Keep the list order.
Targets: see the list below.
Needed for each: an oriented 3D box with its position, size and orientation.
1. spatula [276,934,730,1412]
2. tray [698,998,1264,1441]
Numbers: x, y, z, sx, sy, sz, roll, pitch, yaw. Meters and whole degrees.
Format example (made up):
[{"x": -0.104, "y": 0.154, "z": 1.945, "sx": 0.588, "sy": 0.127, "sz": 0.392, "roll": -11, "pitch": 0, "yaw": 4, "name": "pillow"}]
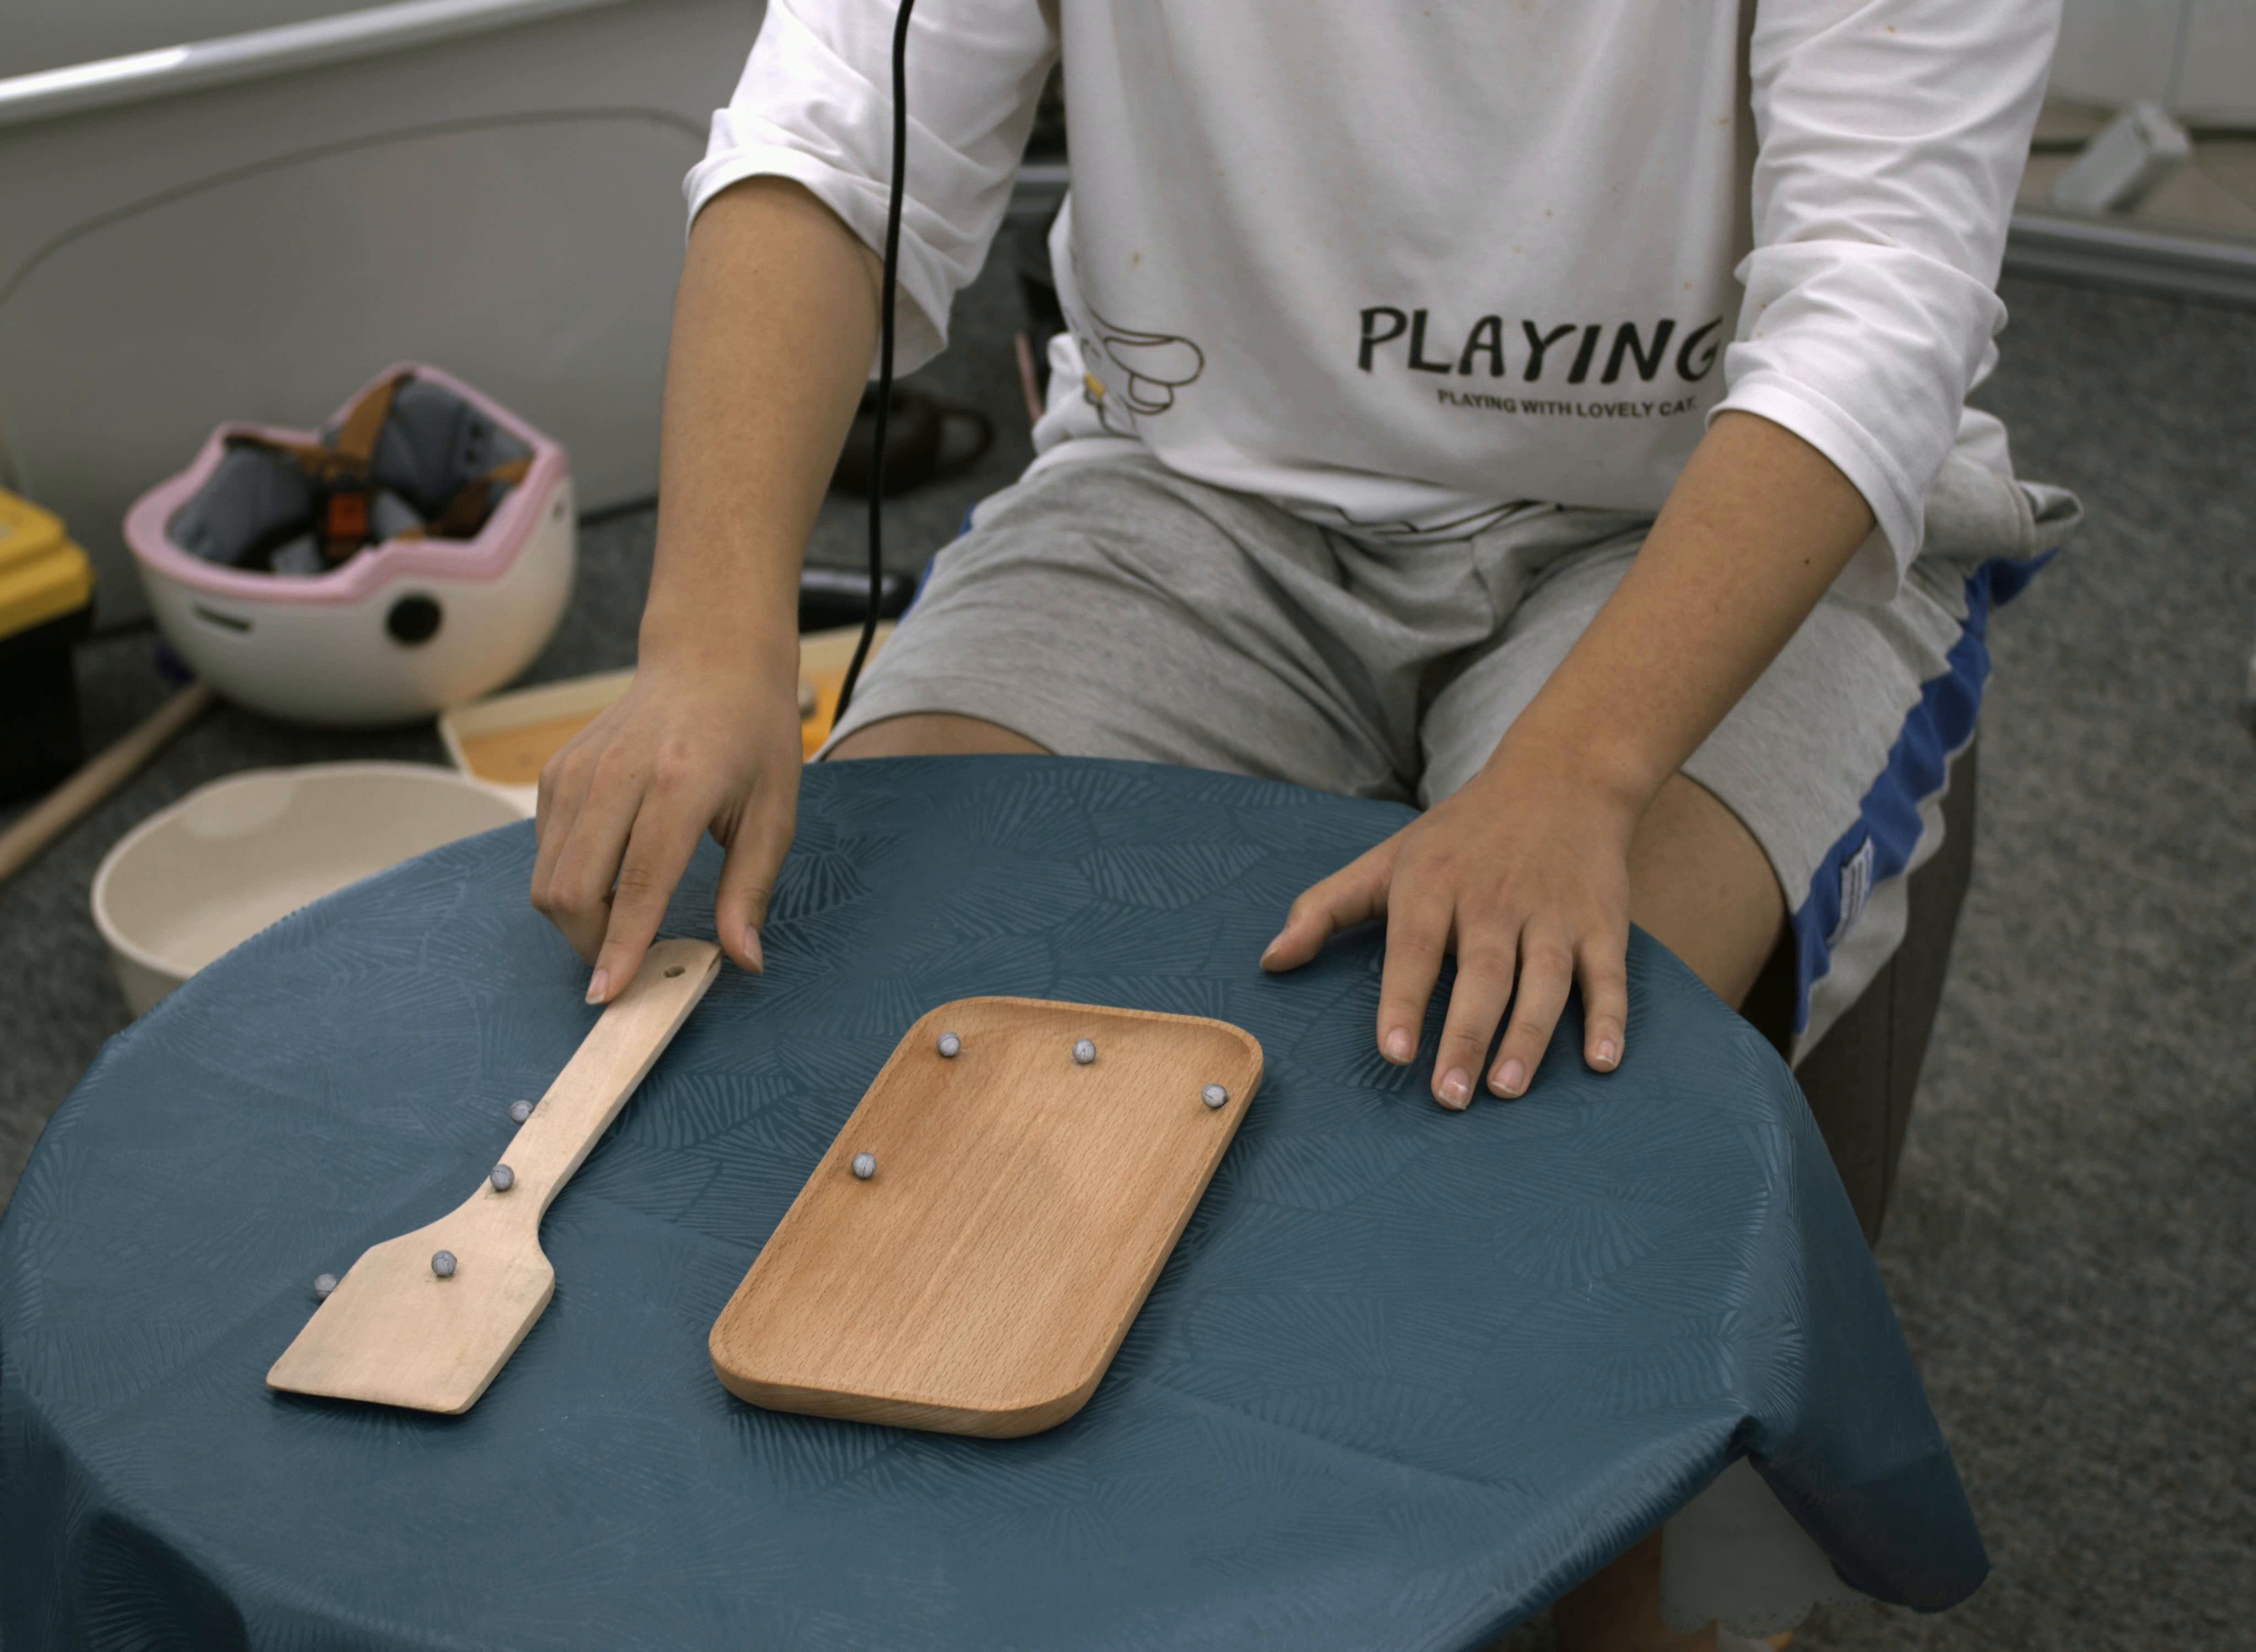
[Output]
[{"x": -0.197, "y": 0.112, "z": 1.886, "sx": 0.072, "sy": 0.010, "sz": 0.298, "roll": 5, "pitch": 30, "yaw": 16, "name": "spatula"}, {"x": -0.044, "y": 0.126, "z": 1.842, "sx": 0.129, "sy": 0.022, "sz": 0.255, "roll": 4, "pitch": 28, "yaw": 18, "name": "tray"}]
